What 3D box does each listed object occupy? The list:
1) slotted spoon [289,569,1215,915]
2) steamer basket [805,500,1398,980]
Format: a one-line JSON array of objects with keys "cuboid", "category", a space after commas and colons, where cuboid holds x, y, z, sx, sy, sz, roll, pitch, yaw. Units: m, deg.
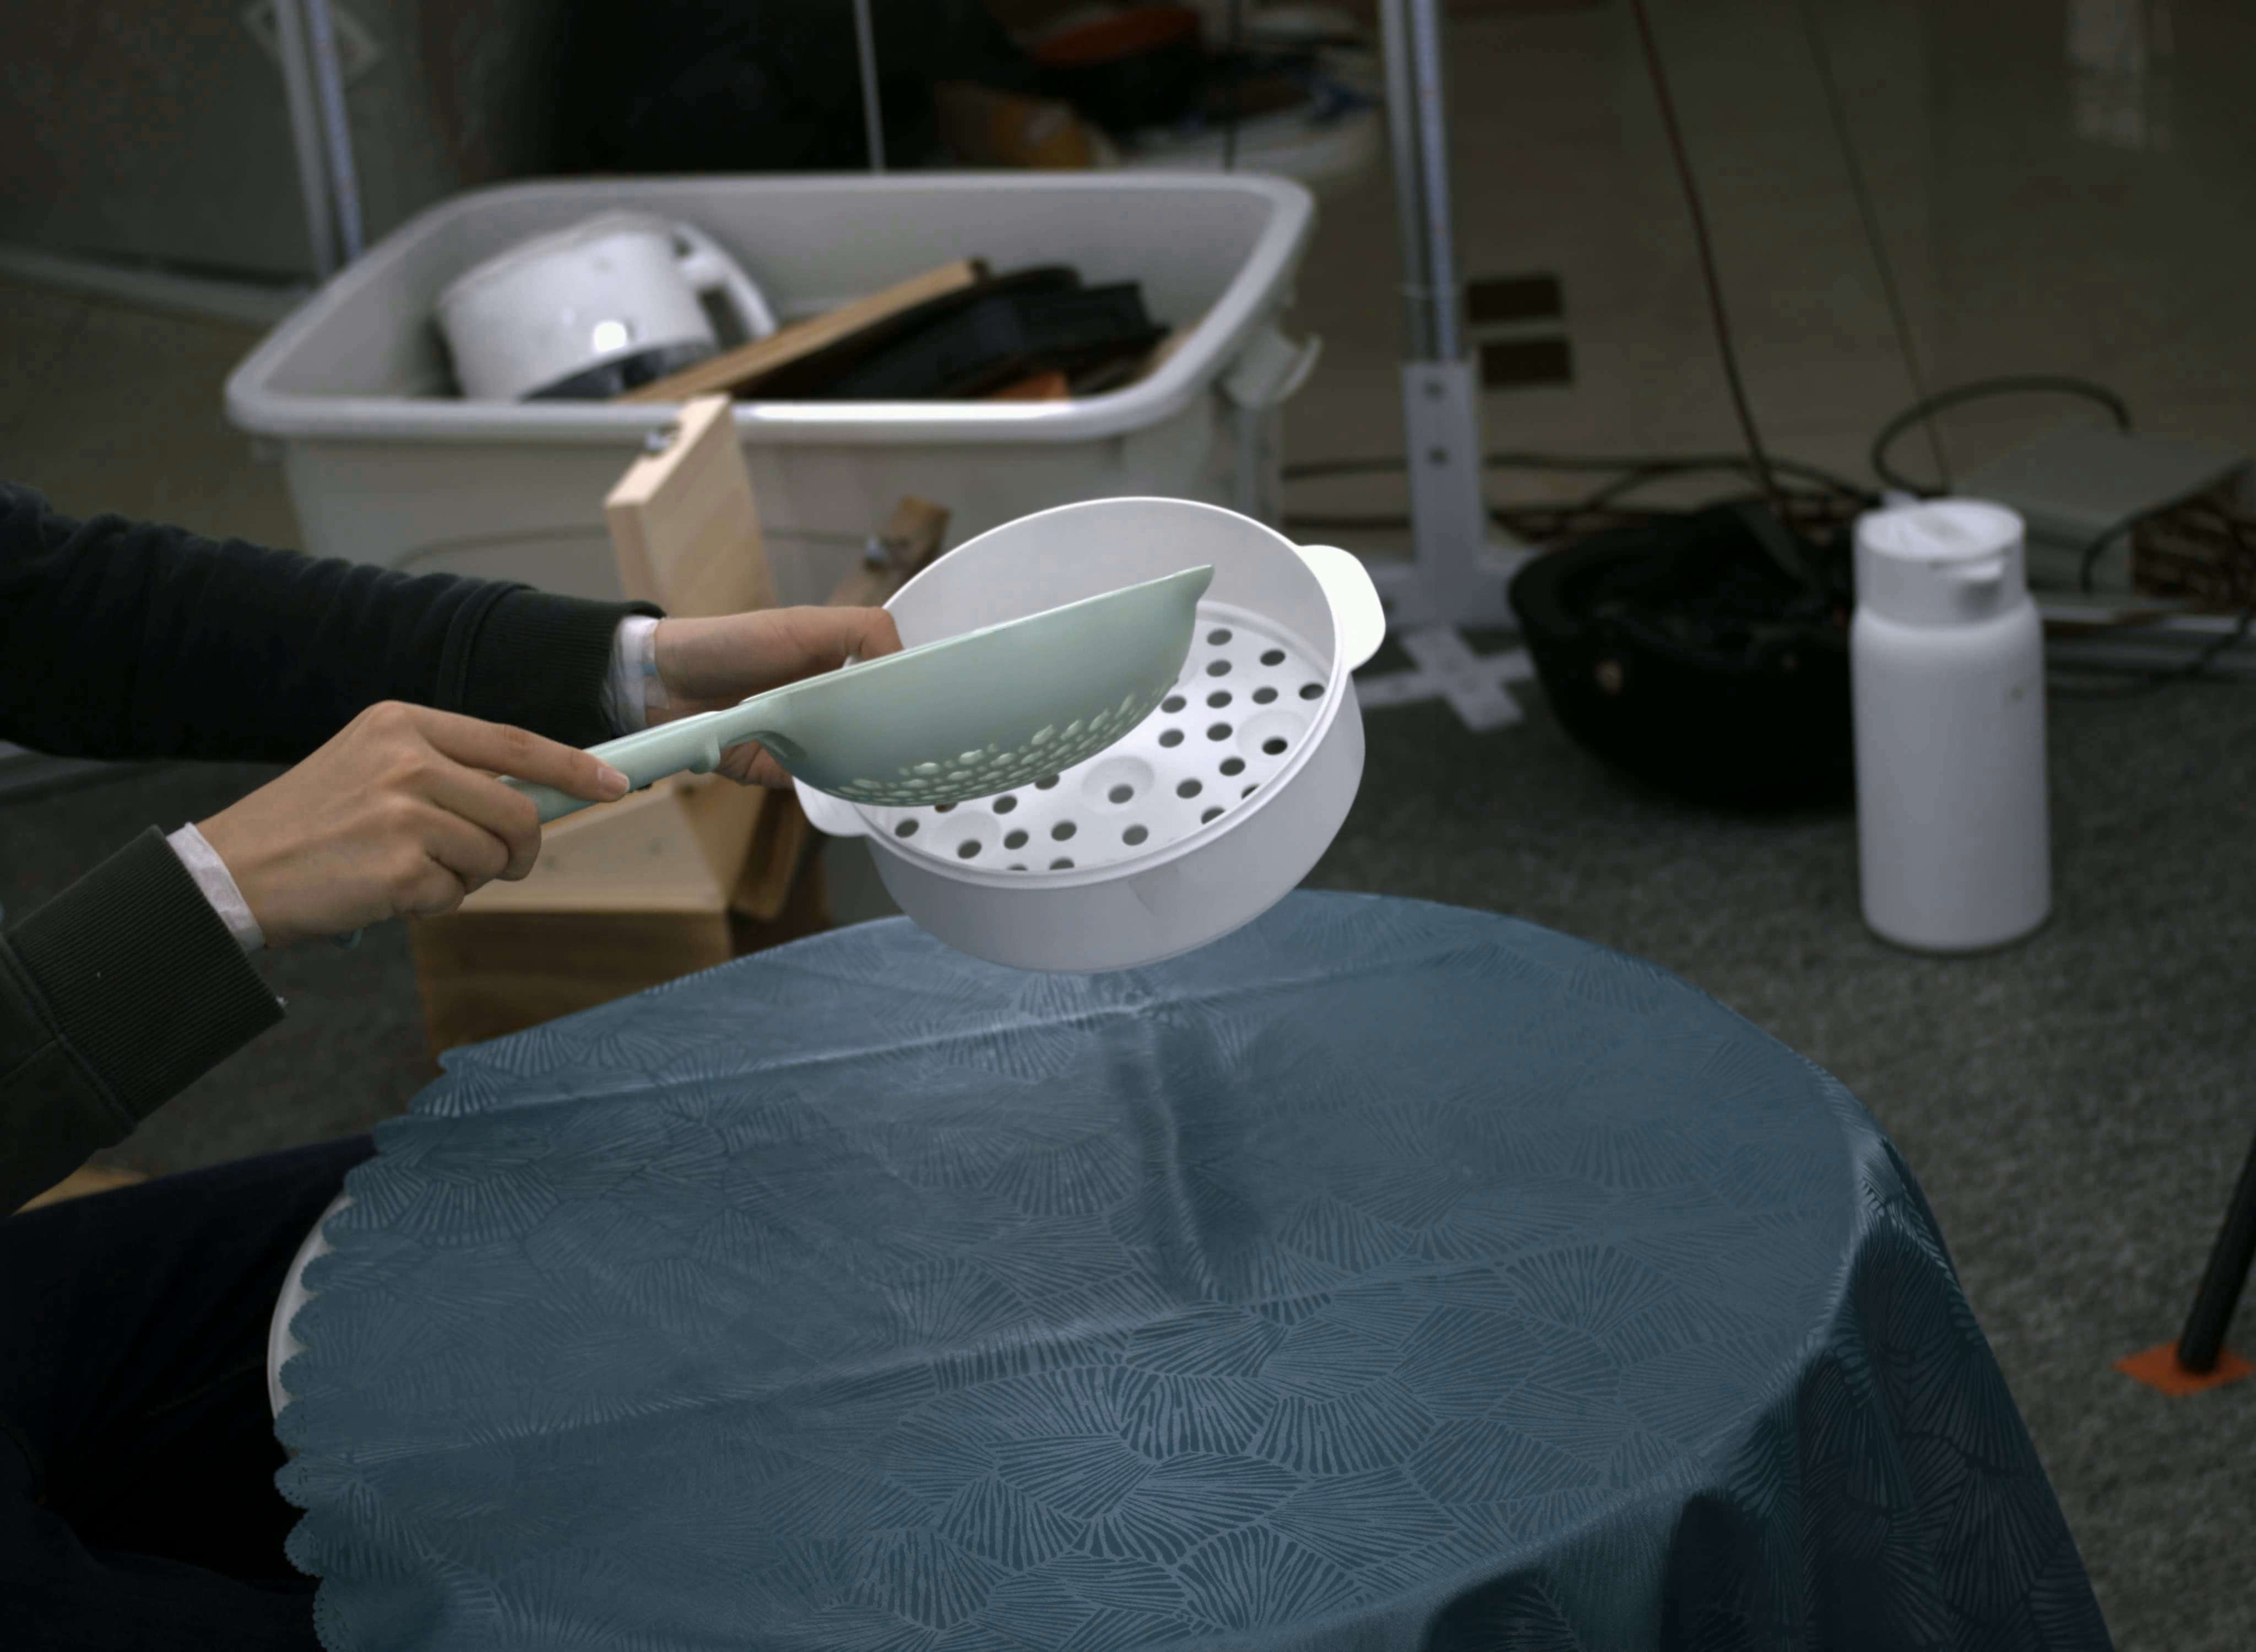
[{"cuboid": [-0.132, -0.030, 1.968, 0.358, 0.075, 0.170, -8, -3, -33], "category": "slotted spoon"}, {"cuboid": [-0.004, -0.032, 2.134, 0.230, 0.070, 0.198, -20, 45, 0], "category": "steamer basket"}]
